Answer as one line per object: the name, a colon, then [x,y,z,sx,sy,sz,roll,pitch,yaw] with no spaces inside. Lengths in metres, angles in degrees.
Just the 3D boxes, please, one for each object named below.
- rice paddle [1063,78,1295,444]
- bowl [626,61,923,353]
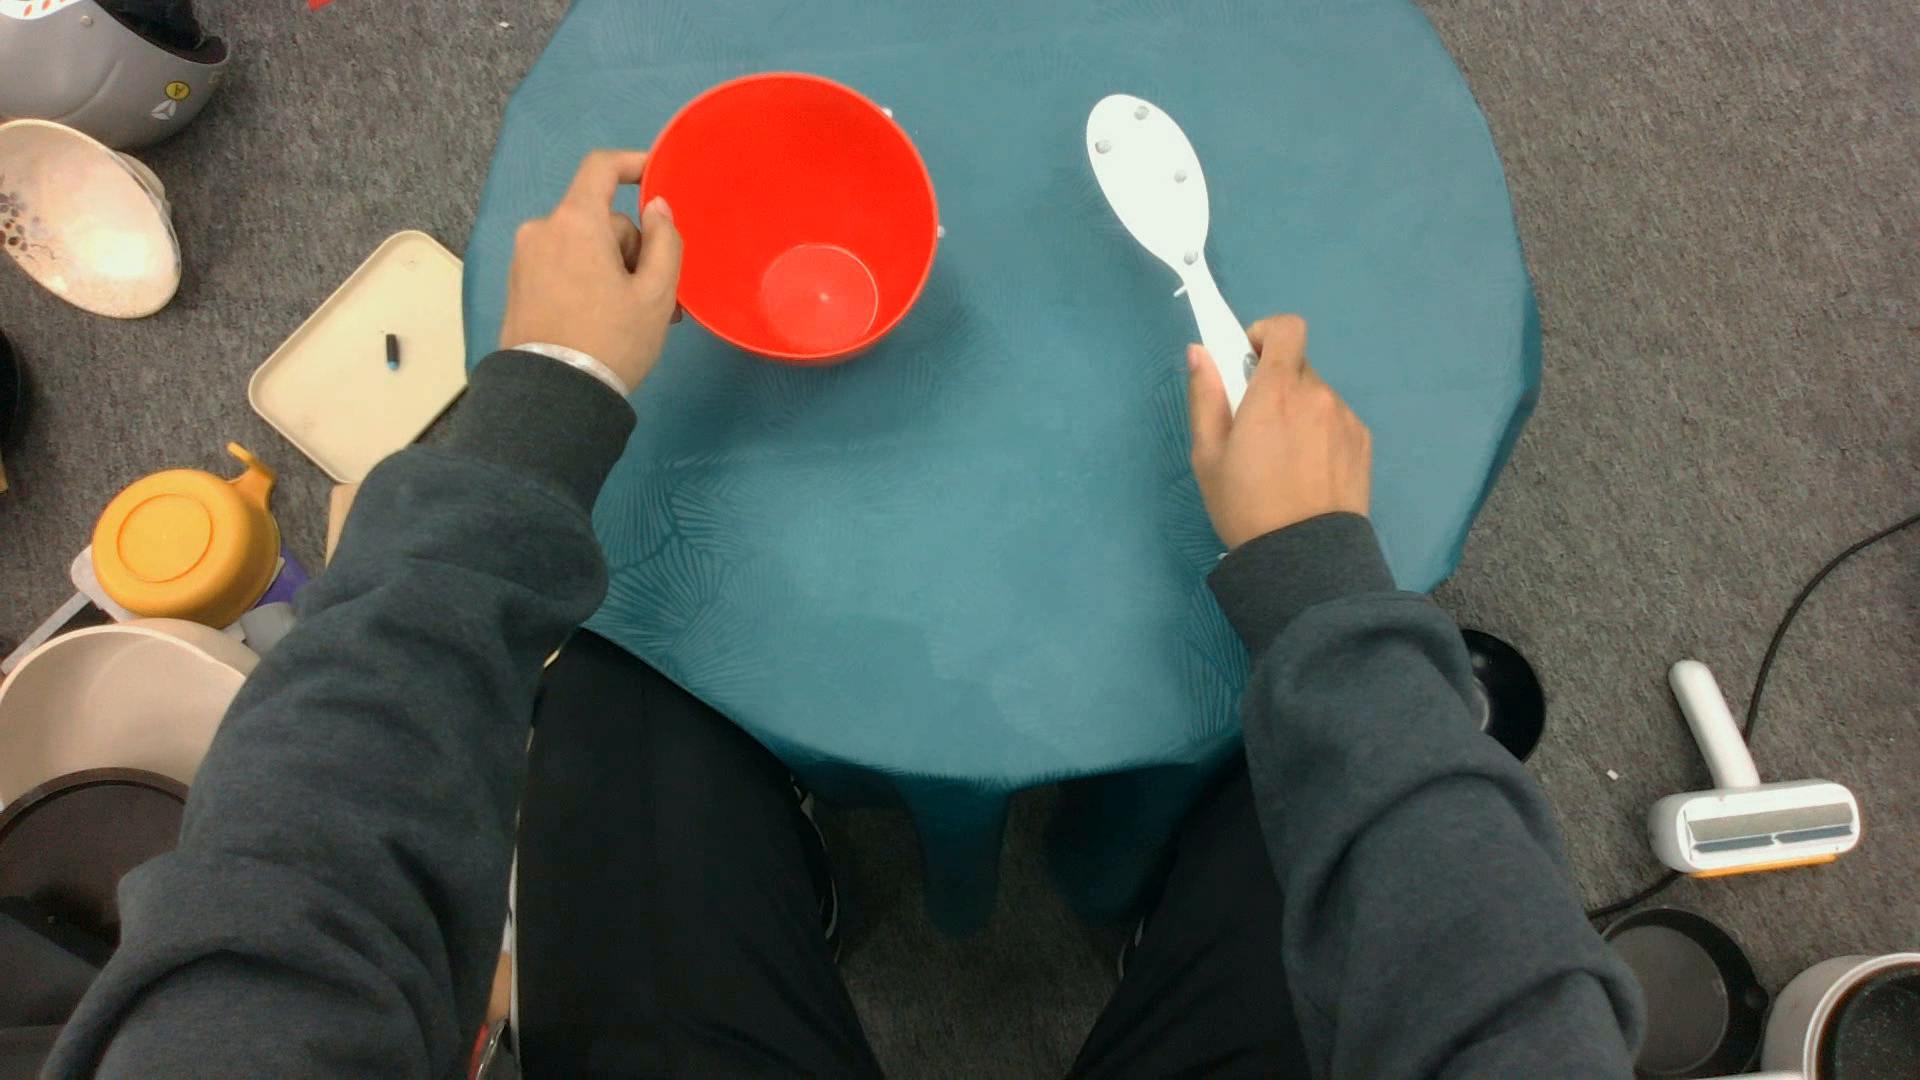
rice paddle: [0.112,-0.147,0.702,0.069,0.029,0.205,-24,86,-30]
bowl: [-0.095,-0.161,0.730,0.148,0.104,0.148,1,77,-6]
